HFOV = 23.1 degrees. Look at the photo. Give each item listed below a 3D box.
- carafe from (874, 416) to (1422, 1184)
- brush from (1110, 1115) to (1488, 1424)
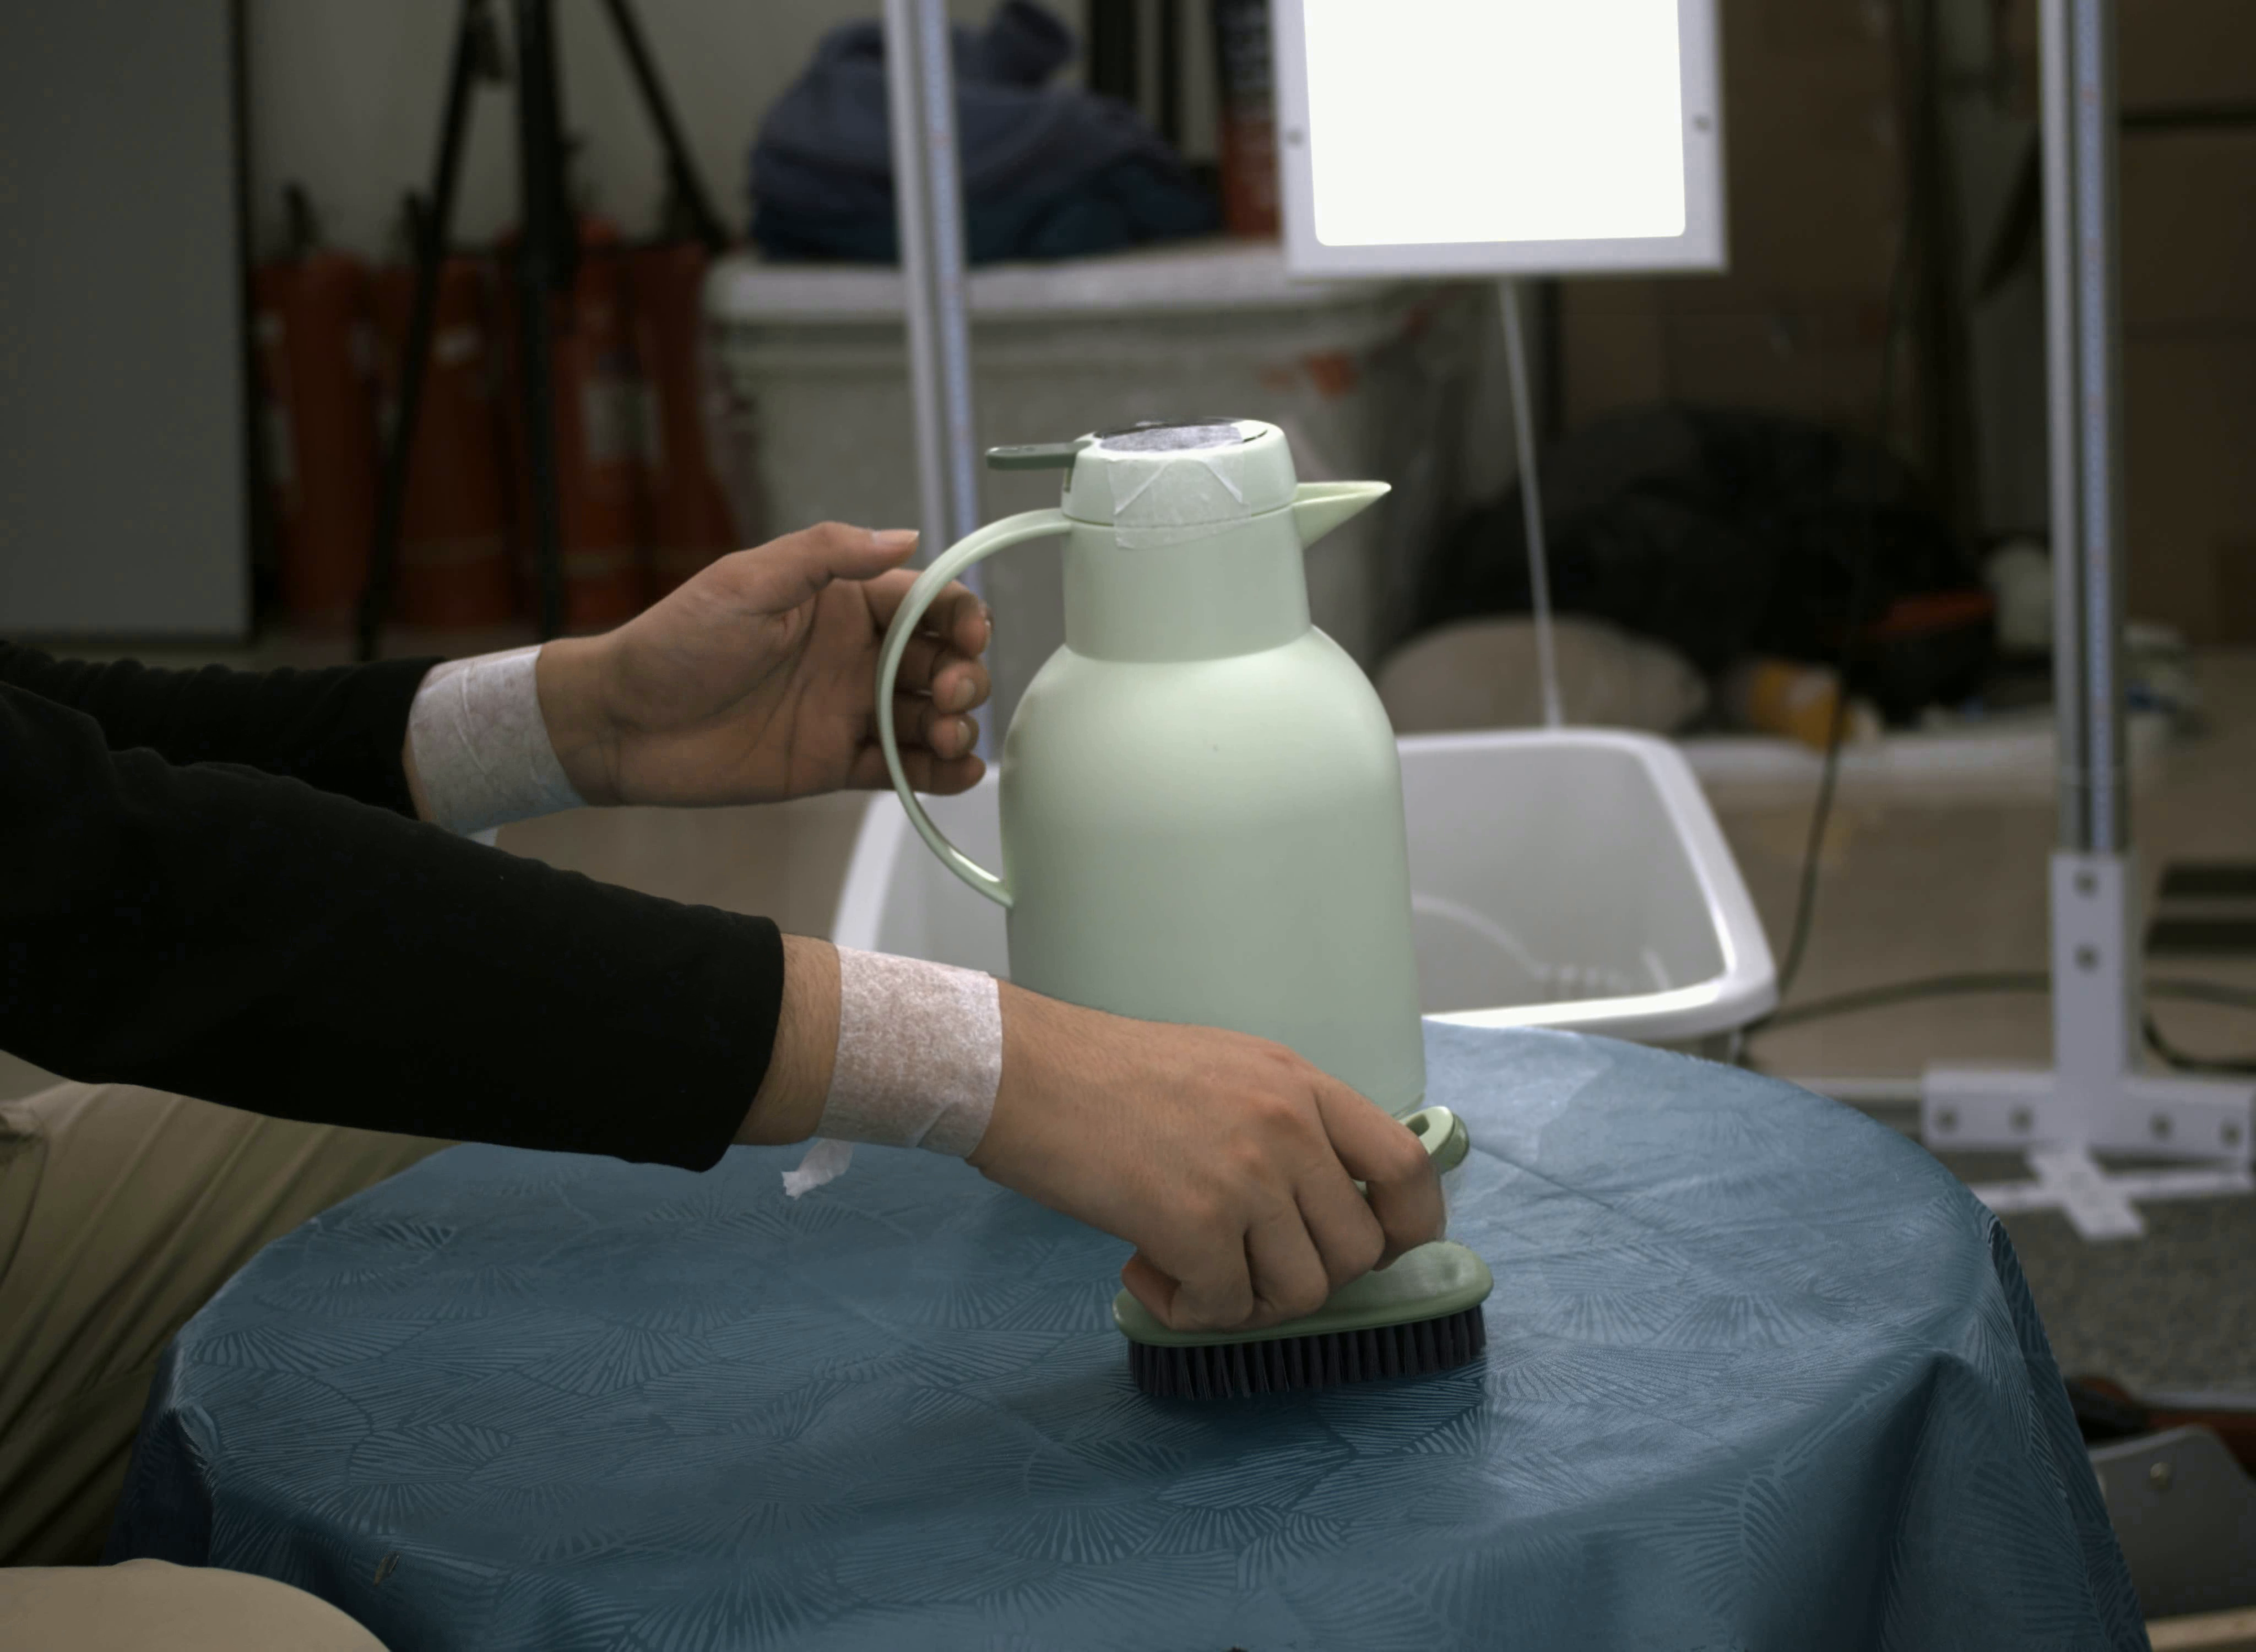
[{"bbox_3d":[0.010,-0.011,1.915,0.186,0.257,0.144,-8,13,-3],"label":"carafe"},{"bbox_3d":[0.054,0.145,1.711,0.123,0.075,0.059,-23,17,6],"label":"brush"}]
